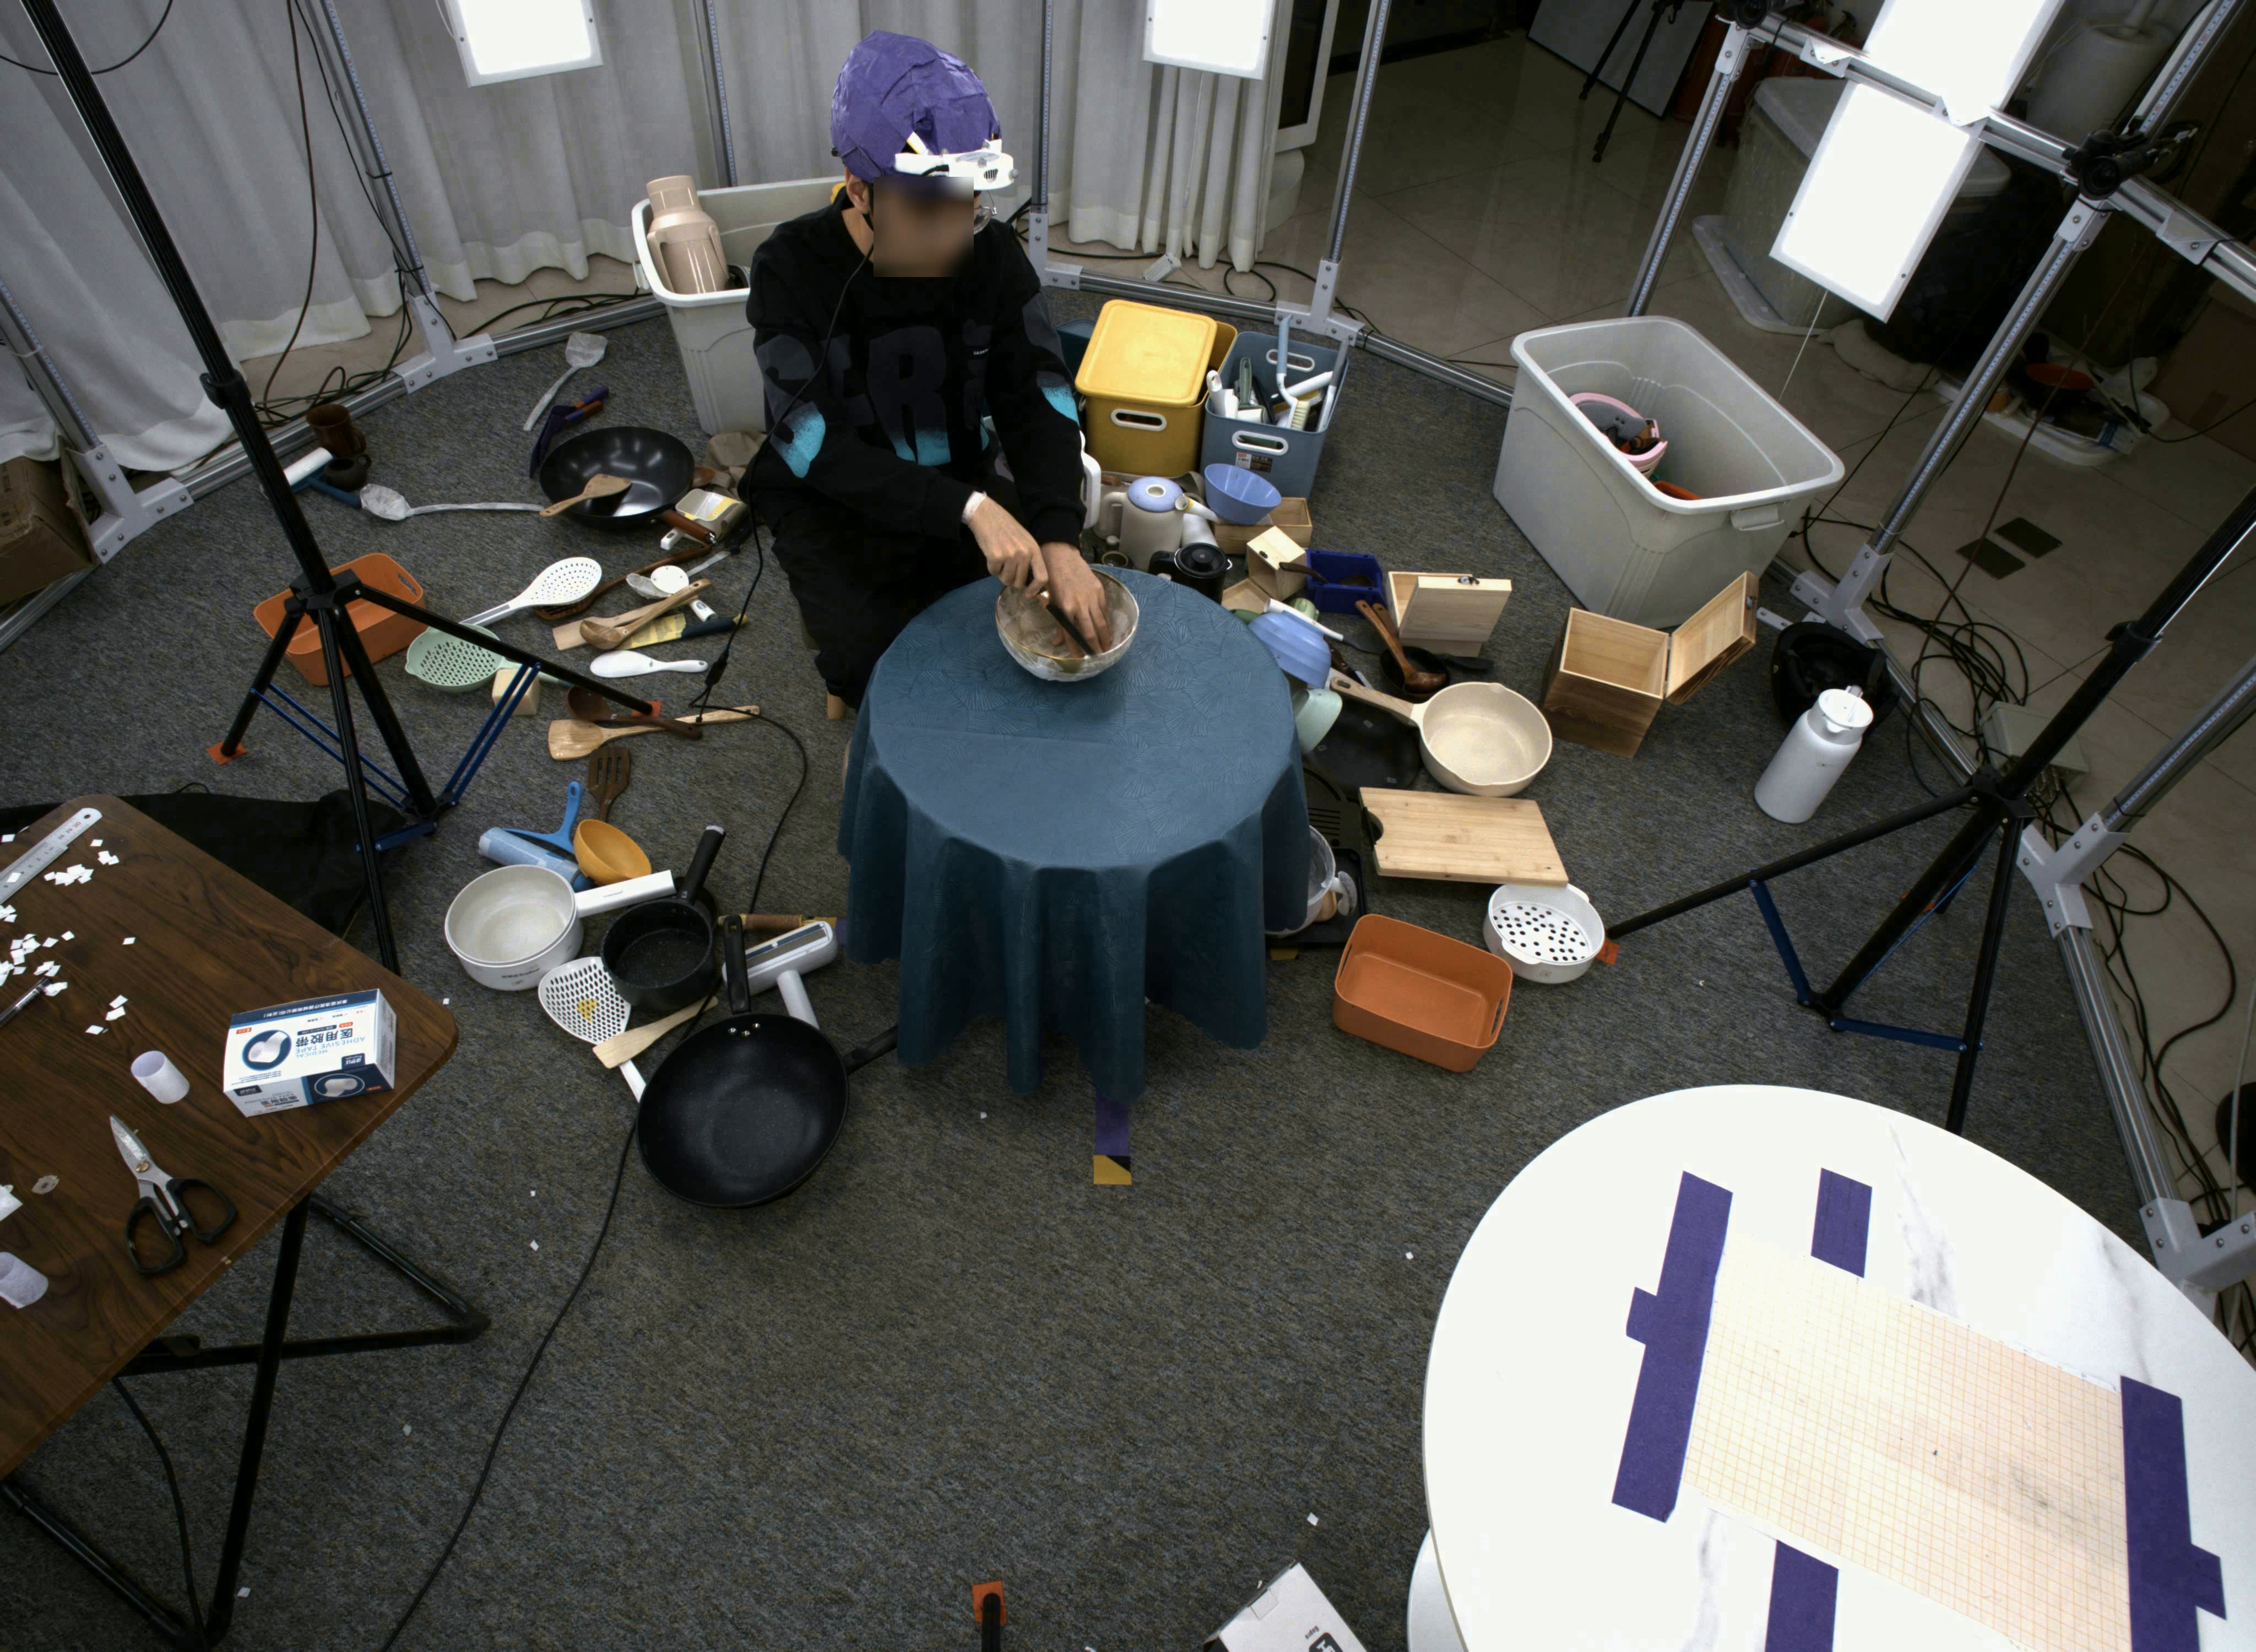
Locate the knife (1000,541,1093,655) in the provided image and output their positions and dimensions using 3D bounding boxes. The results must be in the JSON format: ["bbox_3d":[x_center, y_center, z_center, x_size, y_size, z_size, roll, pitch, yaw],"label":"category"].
[{"bbox_3d":[-0.107,-0.310,1.818,0.225,0.026,0.017,52,48,0],"label":"knife"}]

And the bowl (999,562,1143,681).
[{"bbox_3d":[-0.085,-0.280,1.844,0.214,0.092,0.220,2,51,-2],"label":"bowl"}]
